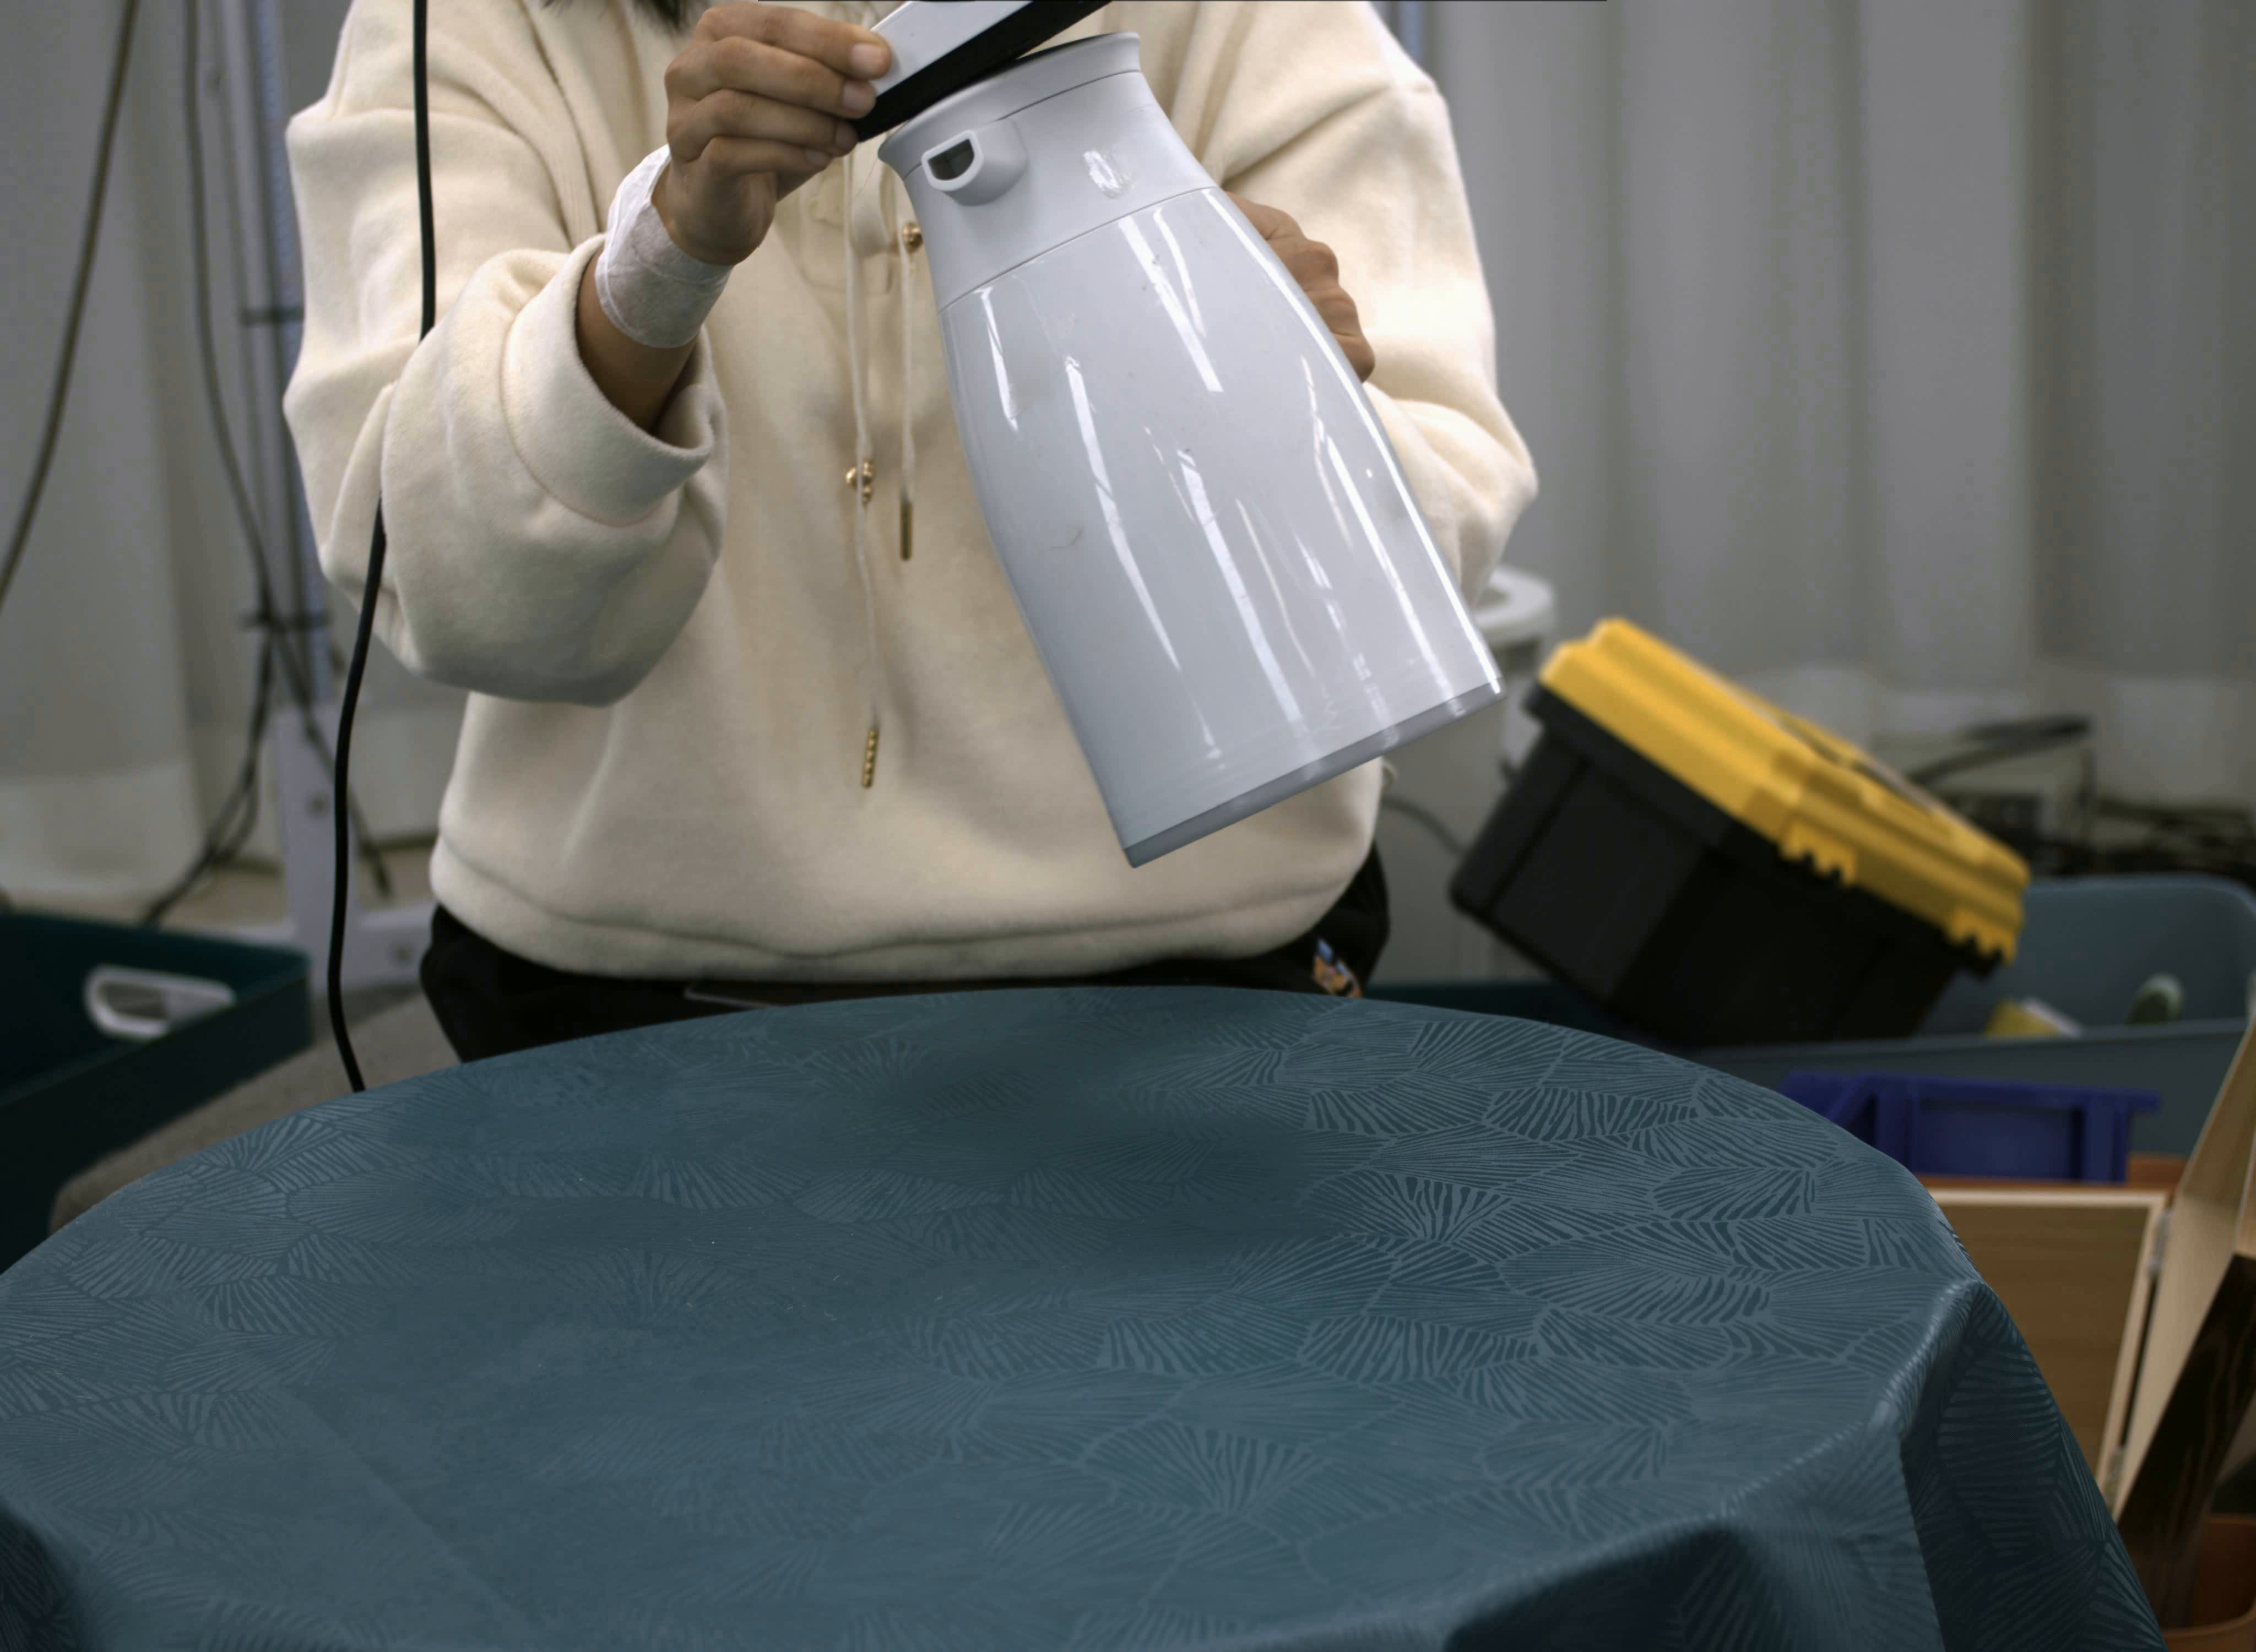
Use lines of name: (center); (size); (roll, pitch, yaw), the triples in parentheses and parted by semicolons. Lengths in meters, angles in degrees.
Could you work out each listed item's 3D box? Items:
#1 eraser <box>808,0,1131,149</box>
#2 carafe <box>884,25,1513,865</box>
eraser: (-0.041, -0.255, 1.715); (0.131, 0.034, 0.063); (-25, 4, 42)
carafe: (0.017, -0.129, 1.751); (0.132, 0.249, 0.167); (-26, -3, 22)
